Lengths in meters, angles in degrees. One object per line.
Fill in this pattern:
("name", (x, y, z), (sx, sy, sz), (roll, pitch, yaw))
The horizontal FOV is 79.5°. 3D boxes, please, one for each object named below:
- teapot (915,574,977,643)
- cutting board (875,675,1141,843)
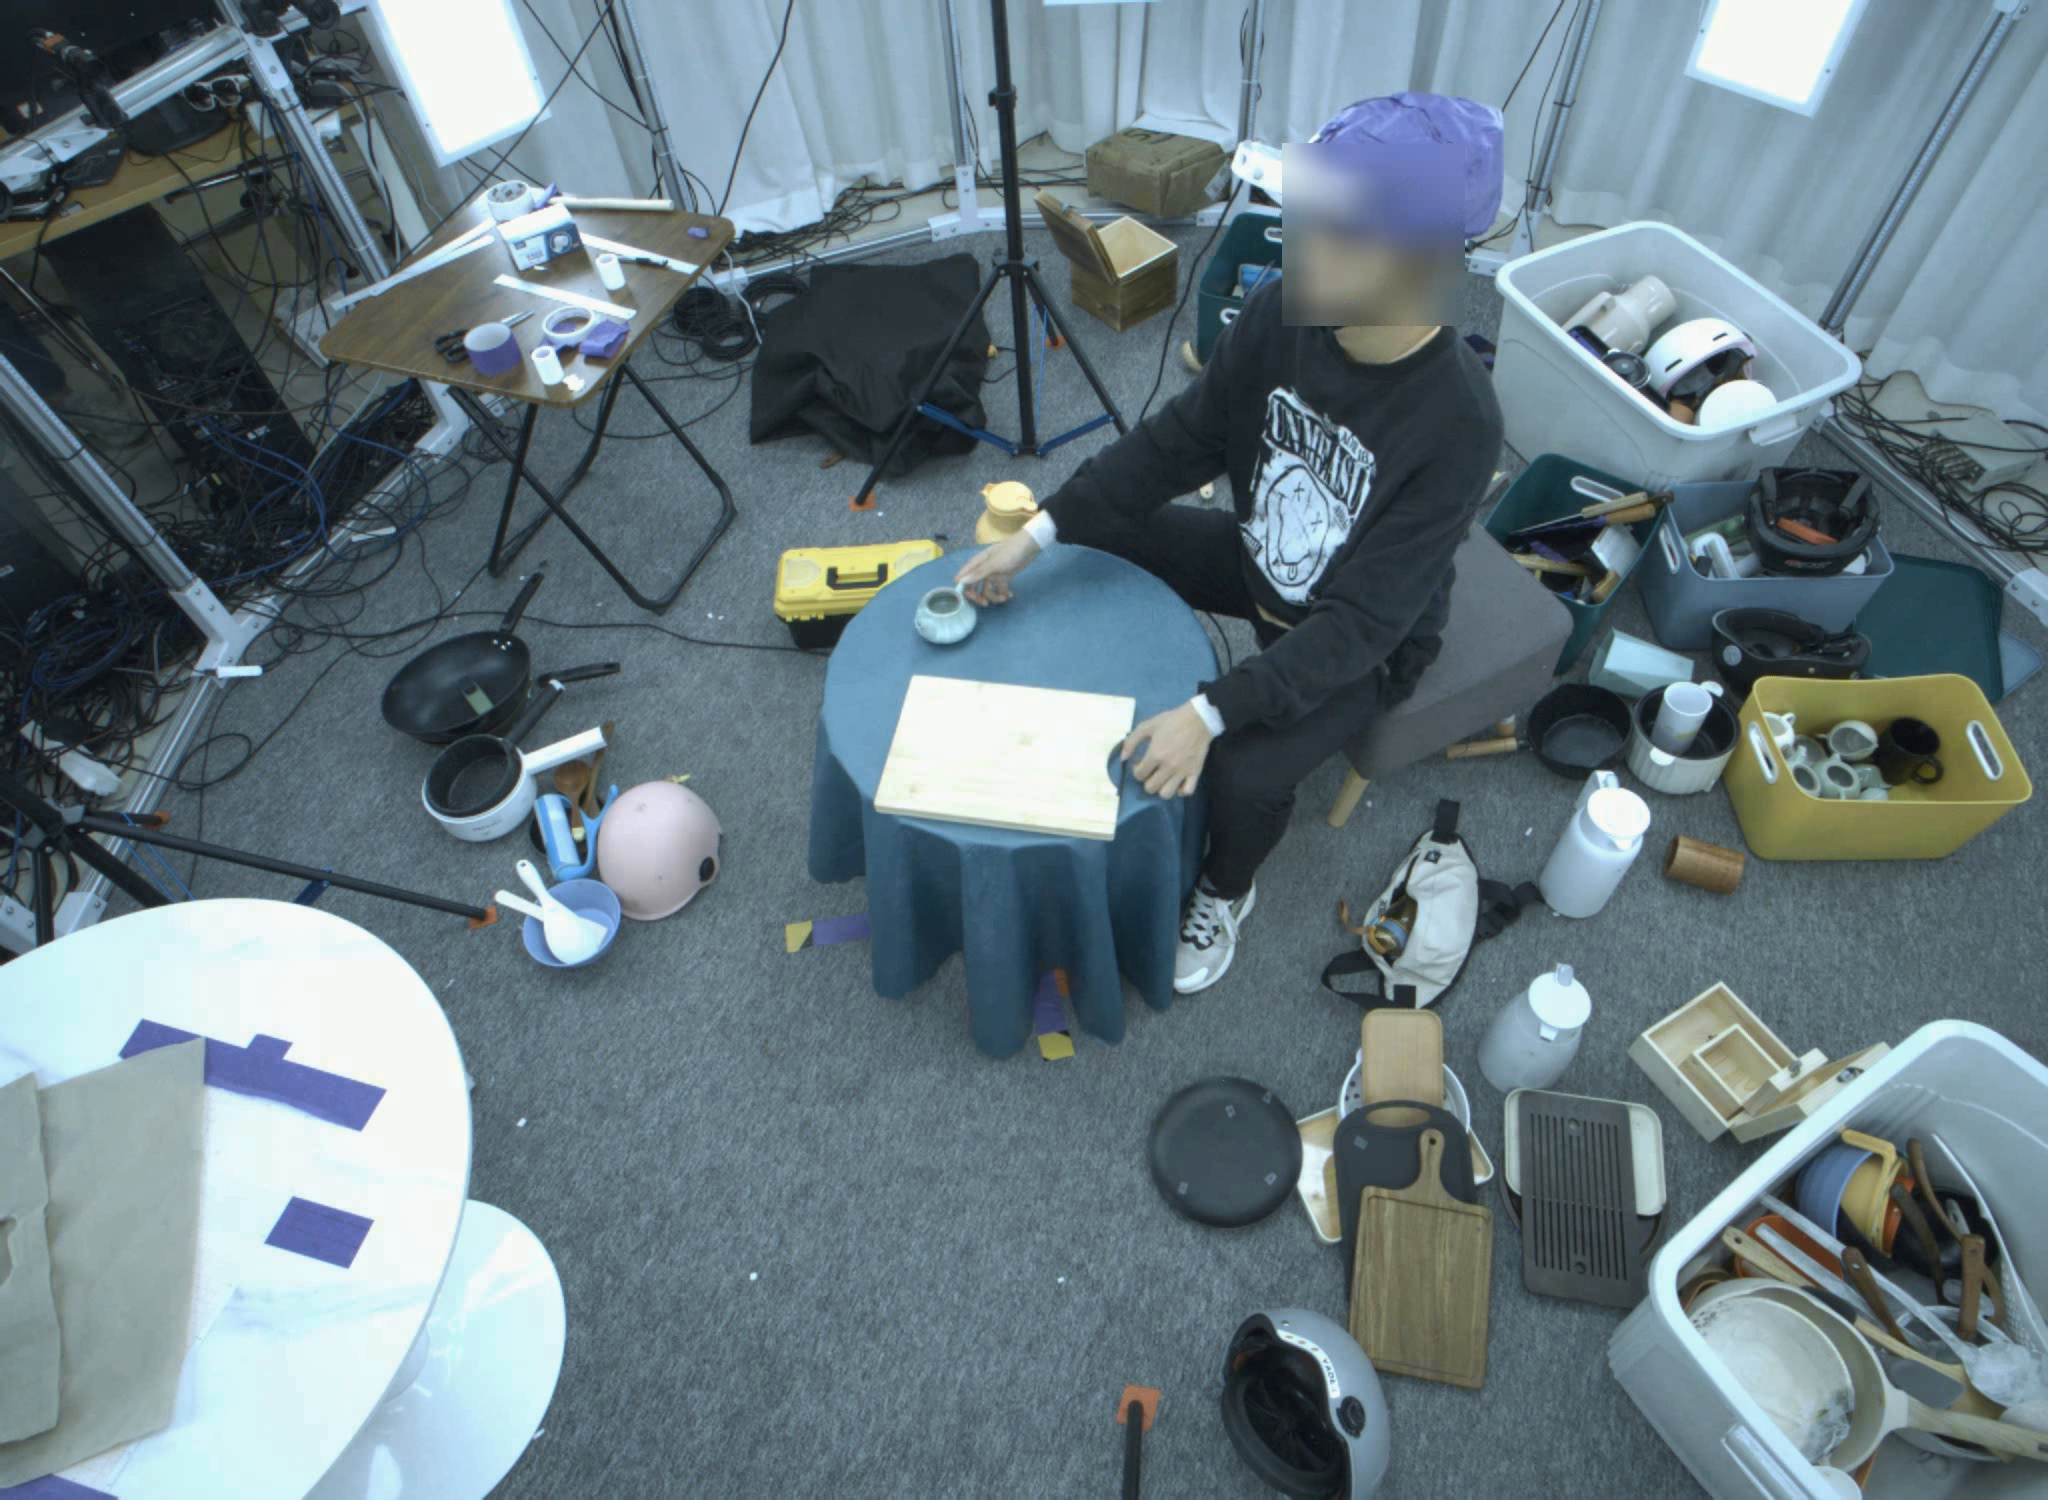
("teapot", (-0.121, -0.216, 1.904), (0.094, 0.062, 0.137), (27, 60, 21))
("cutting board", (-0.018, 0.007, 1.769), (0.347, 0.024, 0.249), (6, 55, 6))
